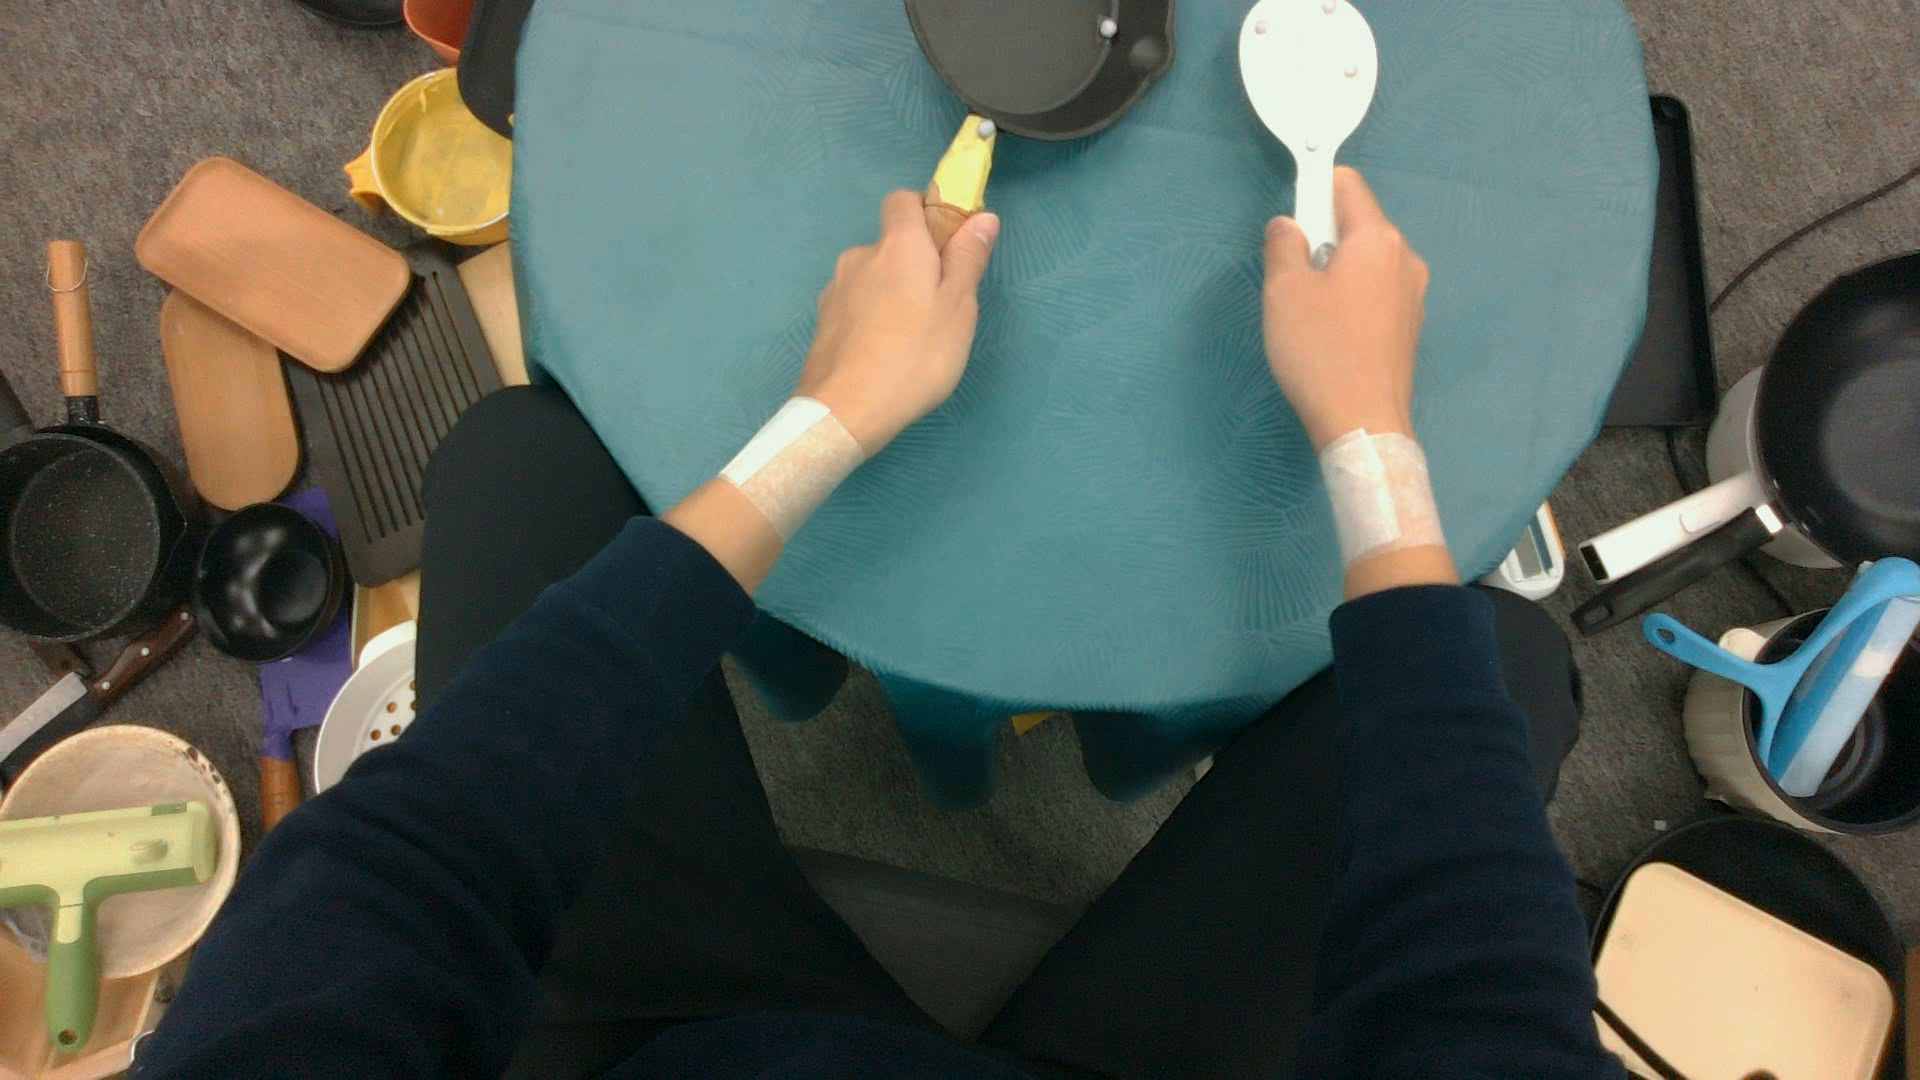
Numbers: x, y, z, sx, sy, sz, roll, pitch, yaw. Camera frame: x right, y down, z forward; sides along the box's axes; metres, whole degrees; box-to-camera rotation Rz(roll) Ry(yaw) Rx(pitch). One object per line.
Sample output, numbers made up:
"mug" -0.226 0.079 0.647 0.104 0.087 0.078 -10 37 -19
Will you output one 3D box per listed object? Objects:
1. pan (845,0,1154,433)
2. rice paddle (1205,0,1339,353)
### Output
"pan" -0.002 -0.204 0.669 0.169 0.049 0.324 25 82 -29
"rice paddle" 0.159 -0.193 0.679 0.069 0.029 0.205 -1 76 -4
